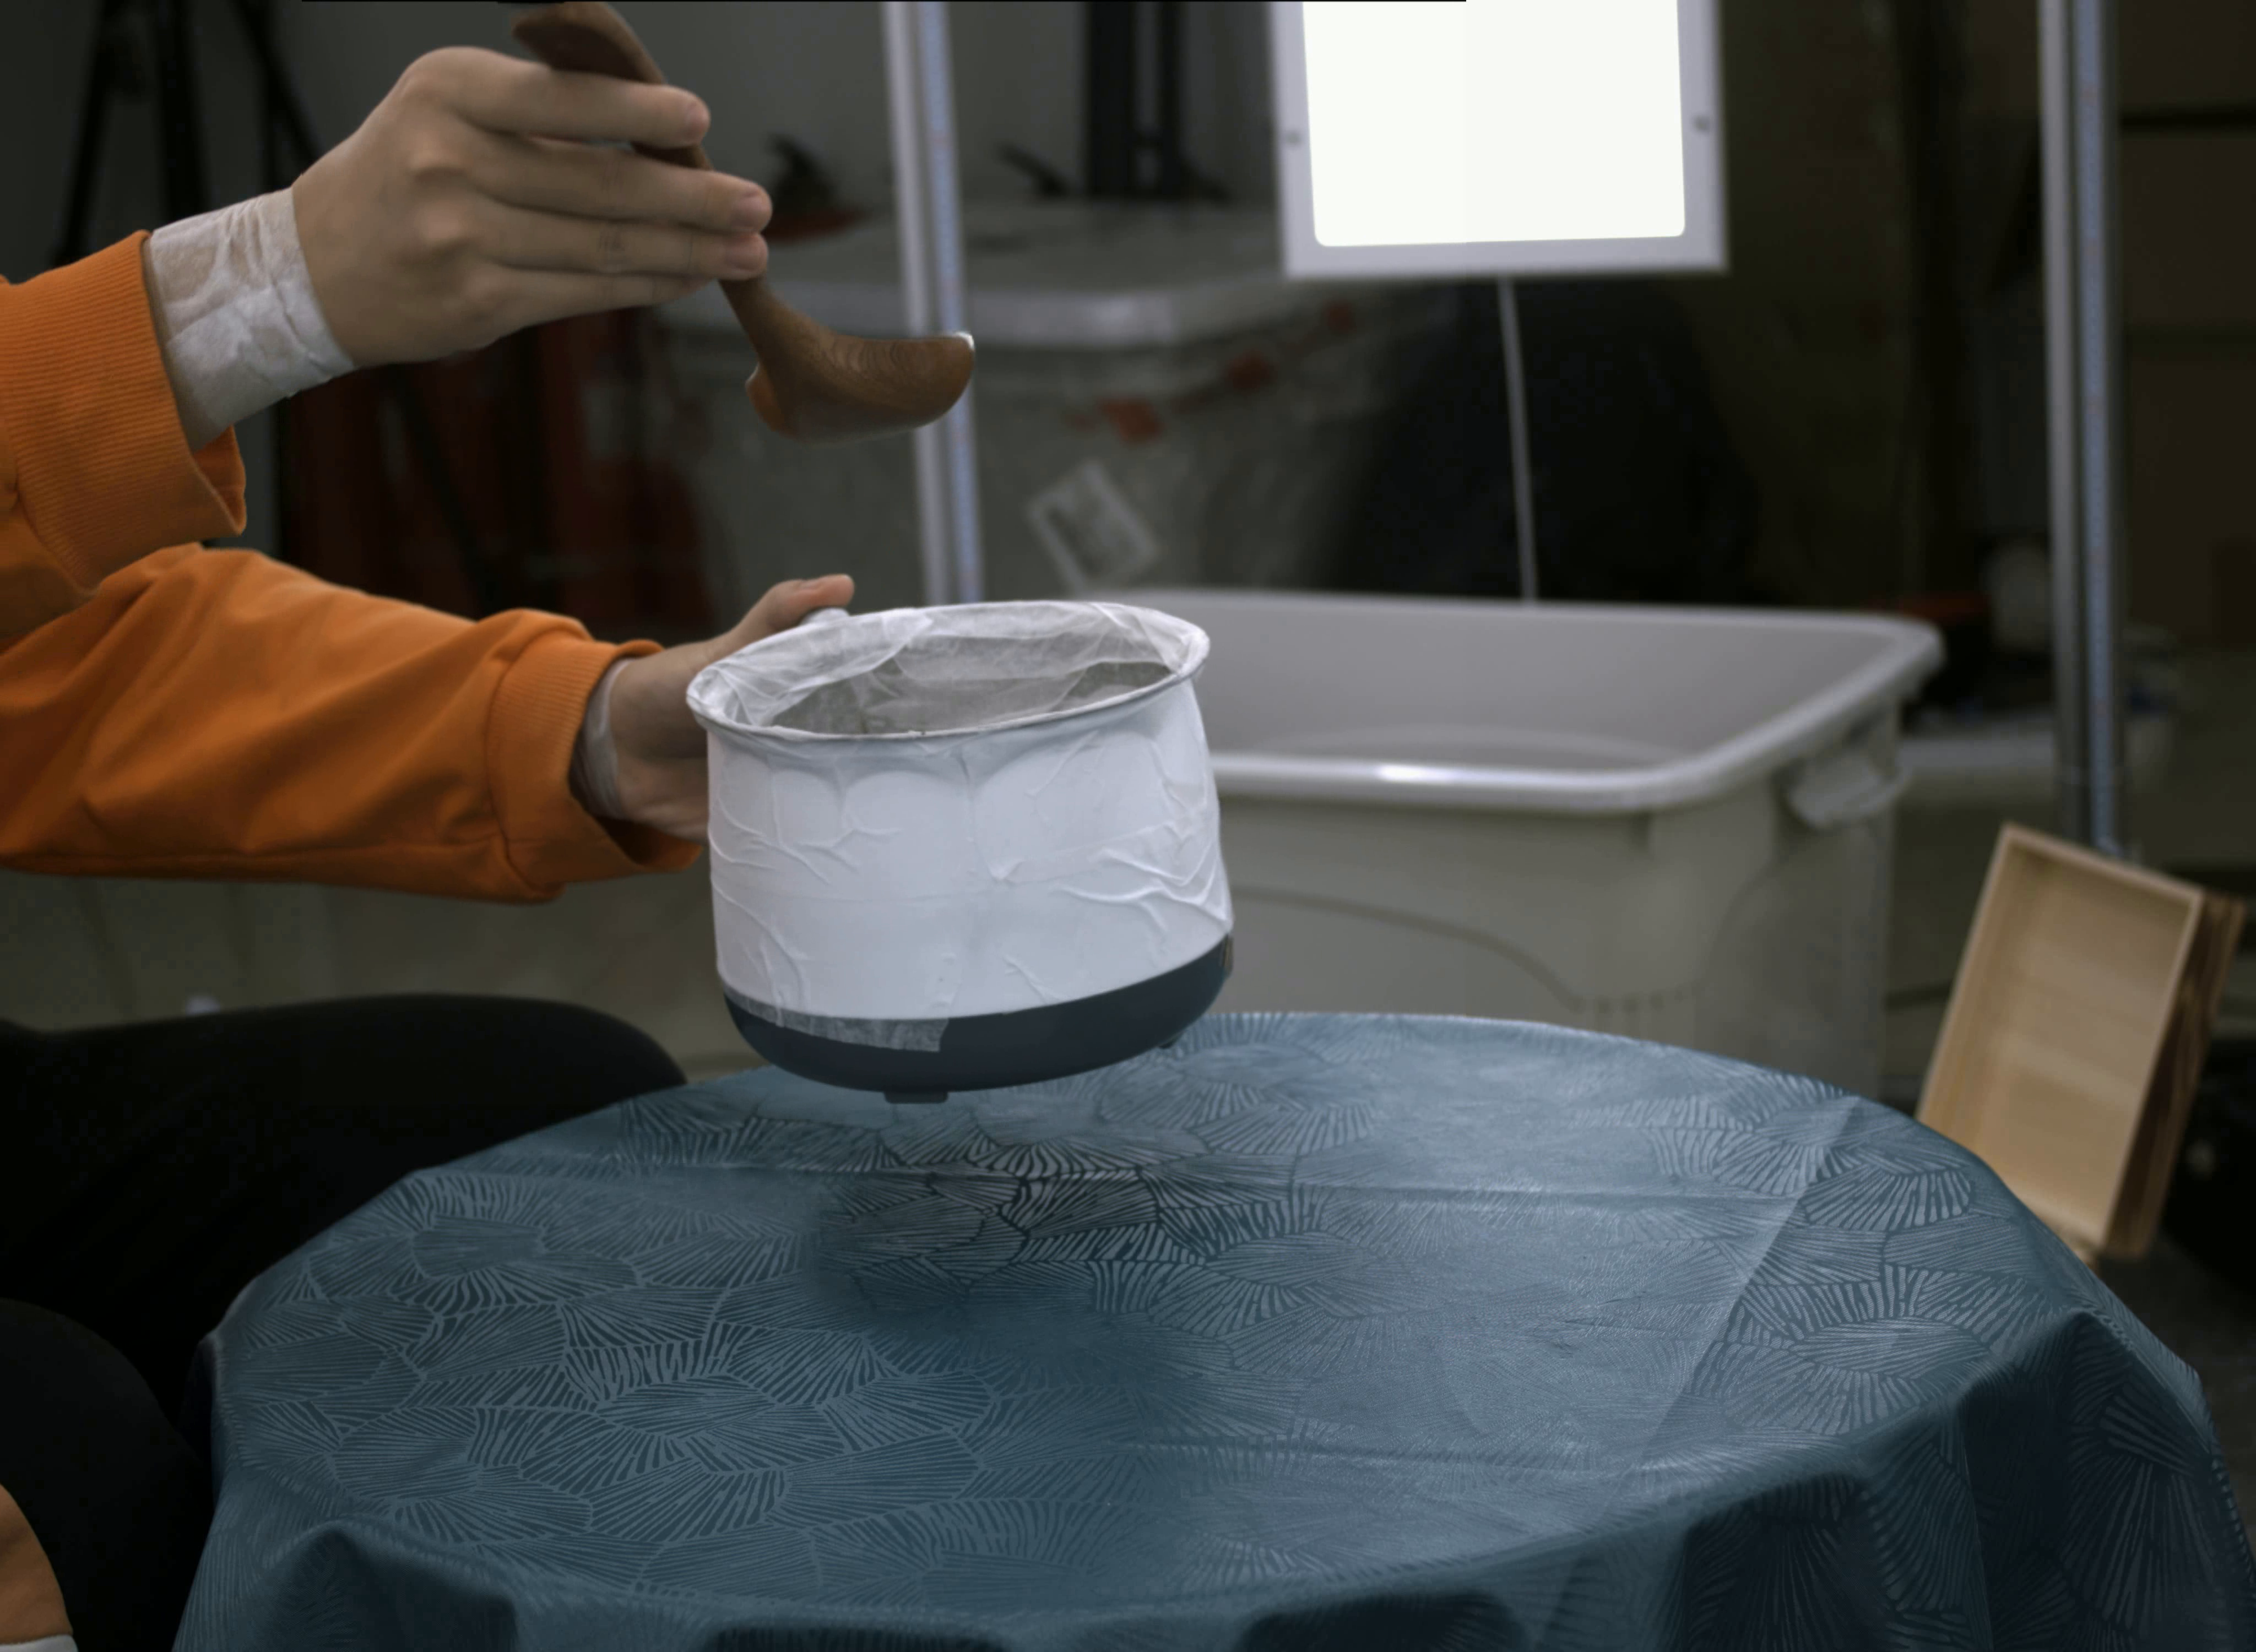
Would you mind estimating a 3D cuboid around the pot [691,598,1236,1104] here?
[{"bbox_3d":[-0.067,0.002,1.885,0.175,0.137,0.237,-13,17,-25],"label":"pot"}]

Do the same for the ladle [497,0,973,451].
[{"bbox_3d":[-0.124,-0.194,1.692,0.077,0.257,0.065,-16,52,18],"label":"ladle"}]
